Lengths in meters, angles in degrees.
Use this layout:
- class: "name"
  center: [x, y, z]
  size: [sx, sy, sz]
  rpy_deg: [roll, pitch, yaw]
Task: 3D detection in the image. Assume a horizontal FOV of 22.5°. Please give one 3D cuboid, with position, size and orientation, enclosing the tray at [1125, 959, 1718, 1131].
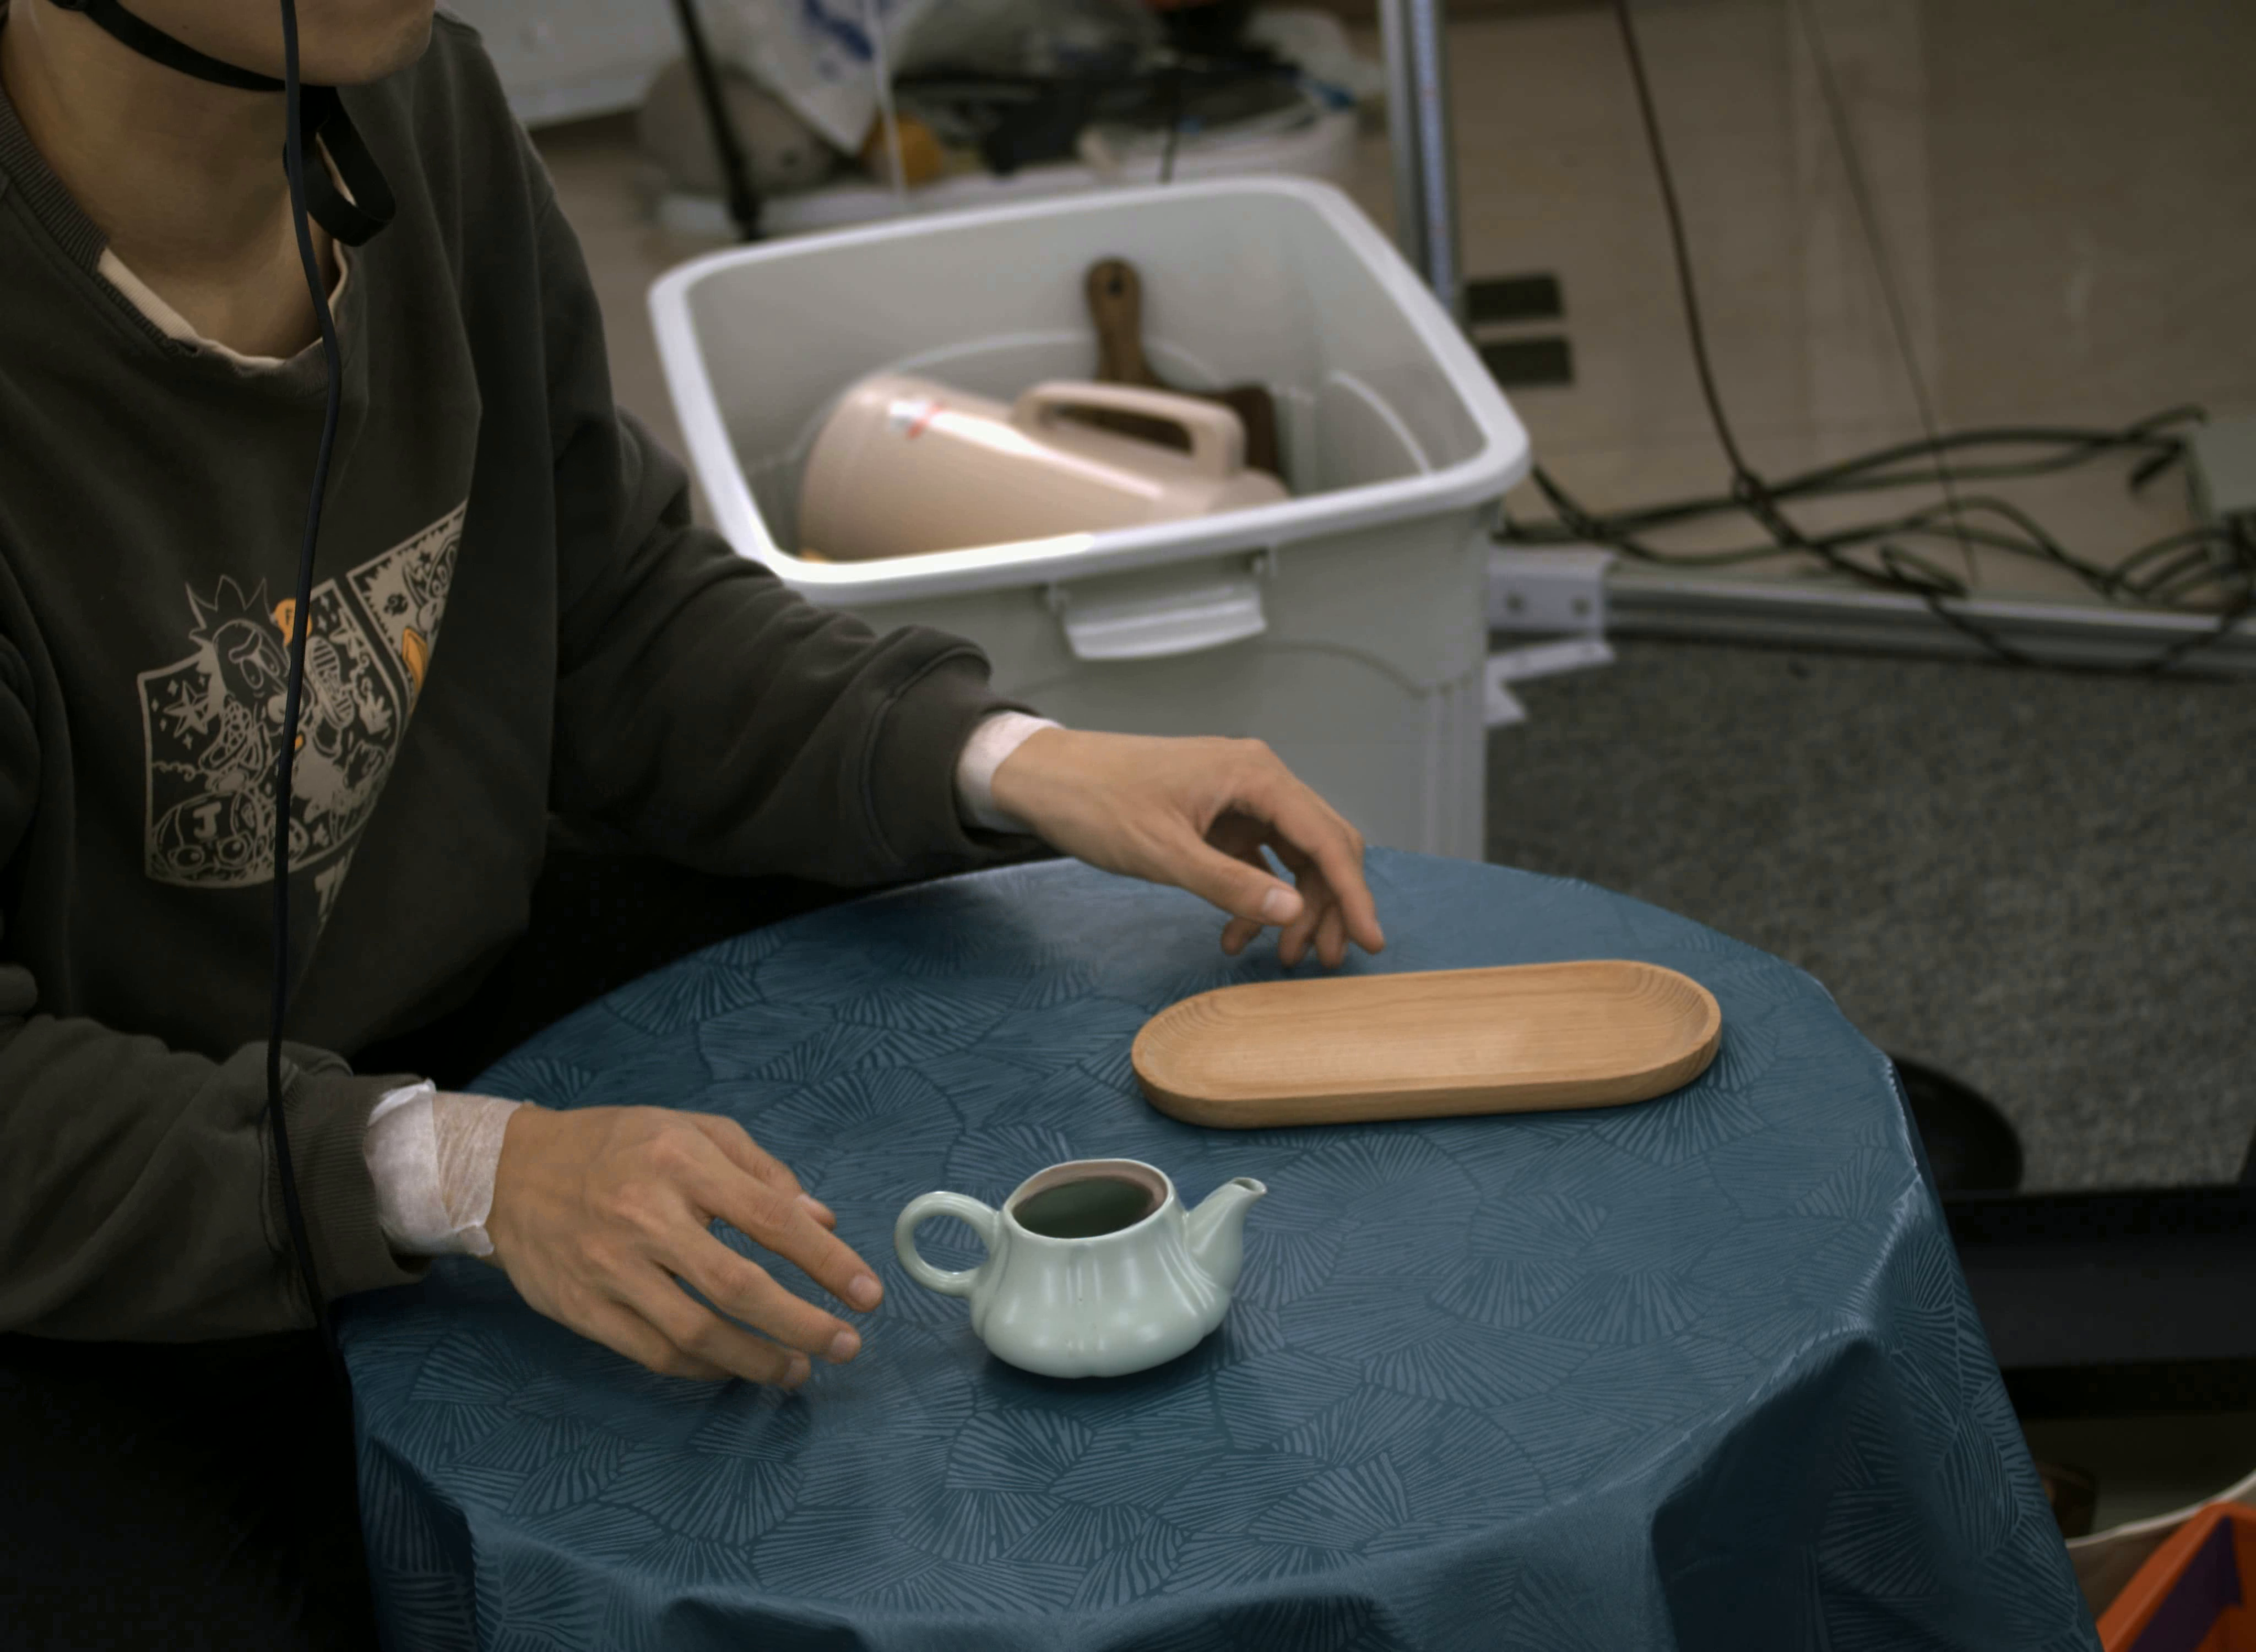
- class: "tray"
  center: [0.114, 0.086, 2.211]
  size: [0.231, 0.020, 0.100]
  rpy_deg: [-5, 25, 6]

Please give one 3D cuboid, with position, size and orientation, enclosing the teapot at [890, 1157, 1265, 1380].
- class: "teapot"
  center: [-0.017, 0.157, 2.040]
  size: [0.137, 0.062, 0.095]
  rpy_deg: [-4, 27, 4]
